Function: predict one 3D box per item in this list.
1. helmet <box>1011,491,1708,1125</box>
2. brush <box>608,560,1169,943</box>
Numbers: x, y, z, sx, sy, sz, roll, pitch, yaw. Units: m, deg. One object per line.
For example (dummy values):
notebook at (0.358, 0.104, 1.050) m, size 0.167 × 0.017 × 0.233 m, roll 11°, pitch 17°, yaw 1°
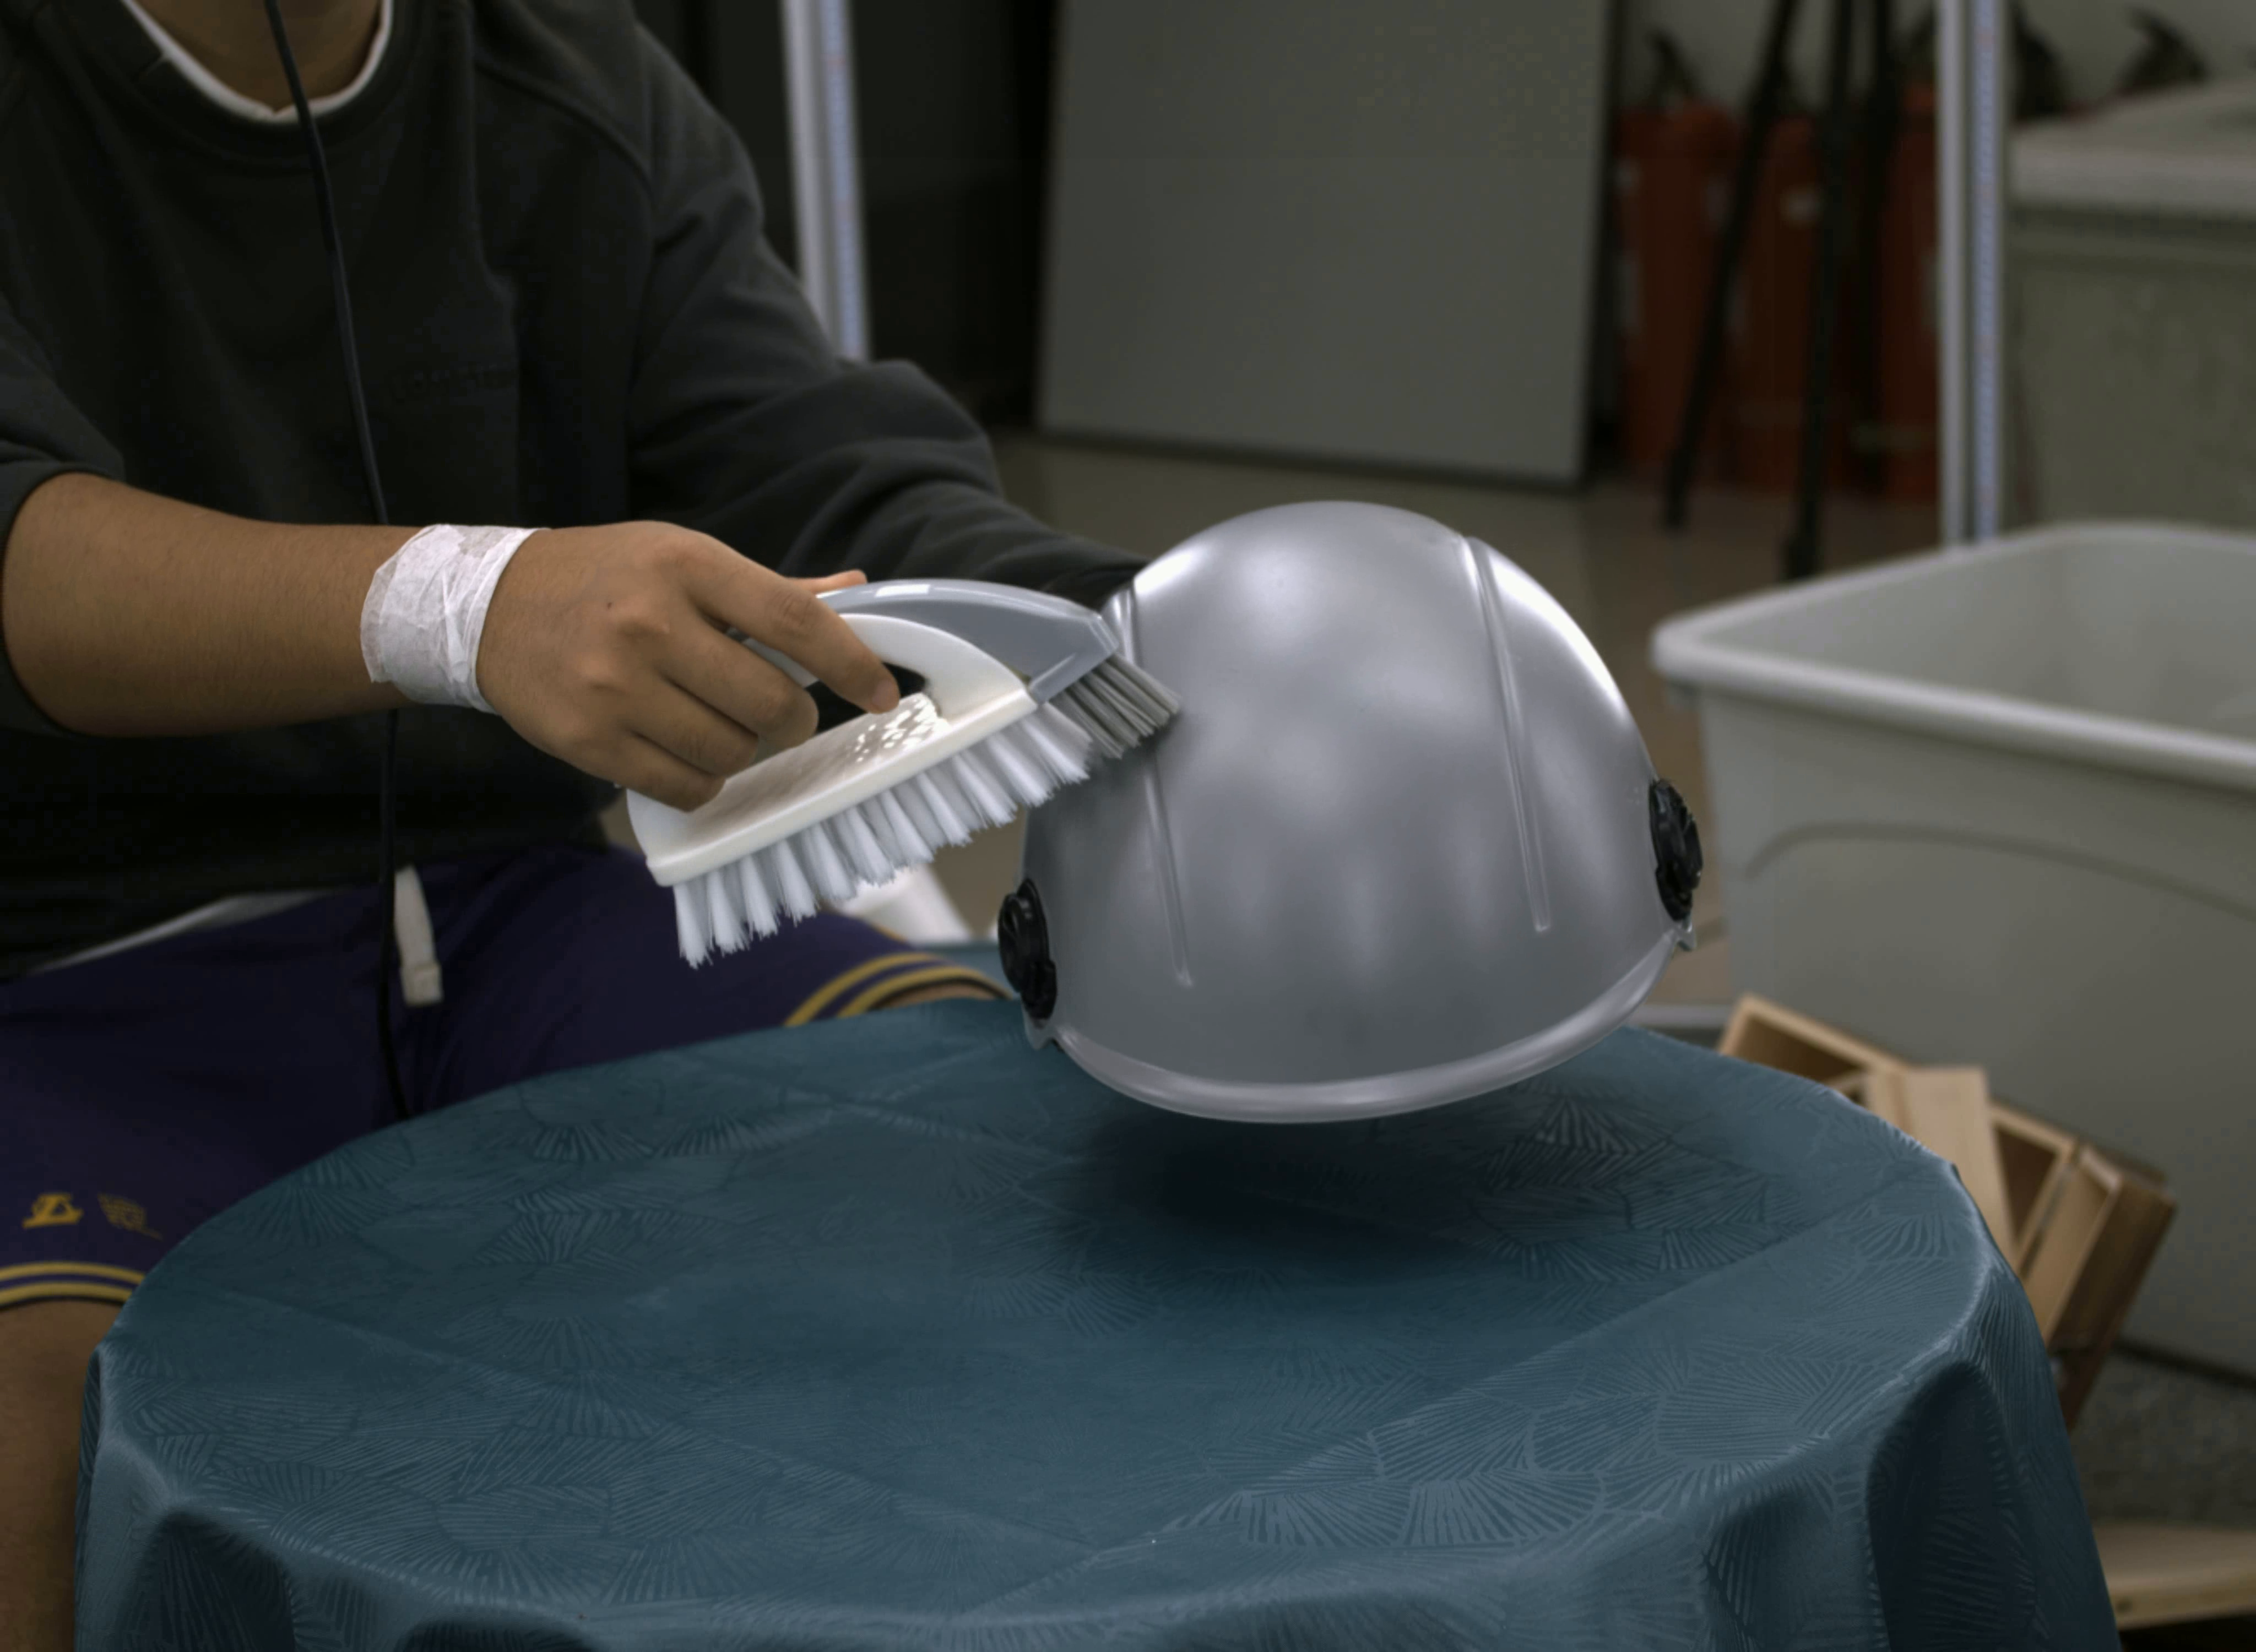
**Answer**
helmet at (0.068, -0.019, 1.767) m, size 0.229 × 0.170 × 0.276 m, roll -10°, pitch 14°, yaw 3°
brush at (-0.082, -0.039, 1.699) m, size 0.175 × 0.094 × 0.061 m, roll -23°, pitch 21°, yaw 13°
